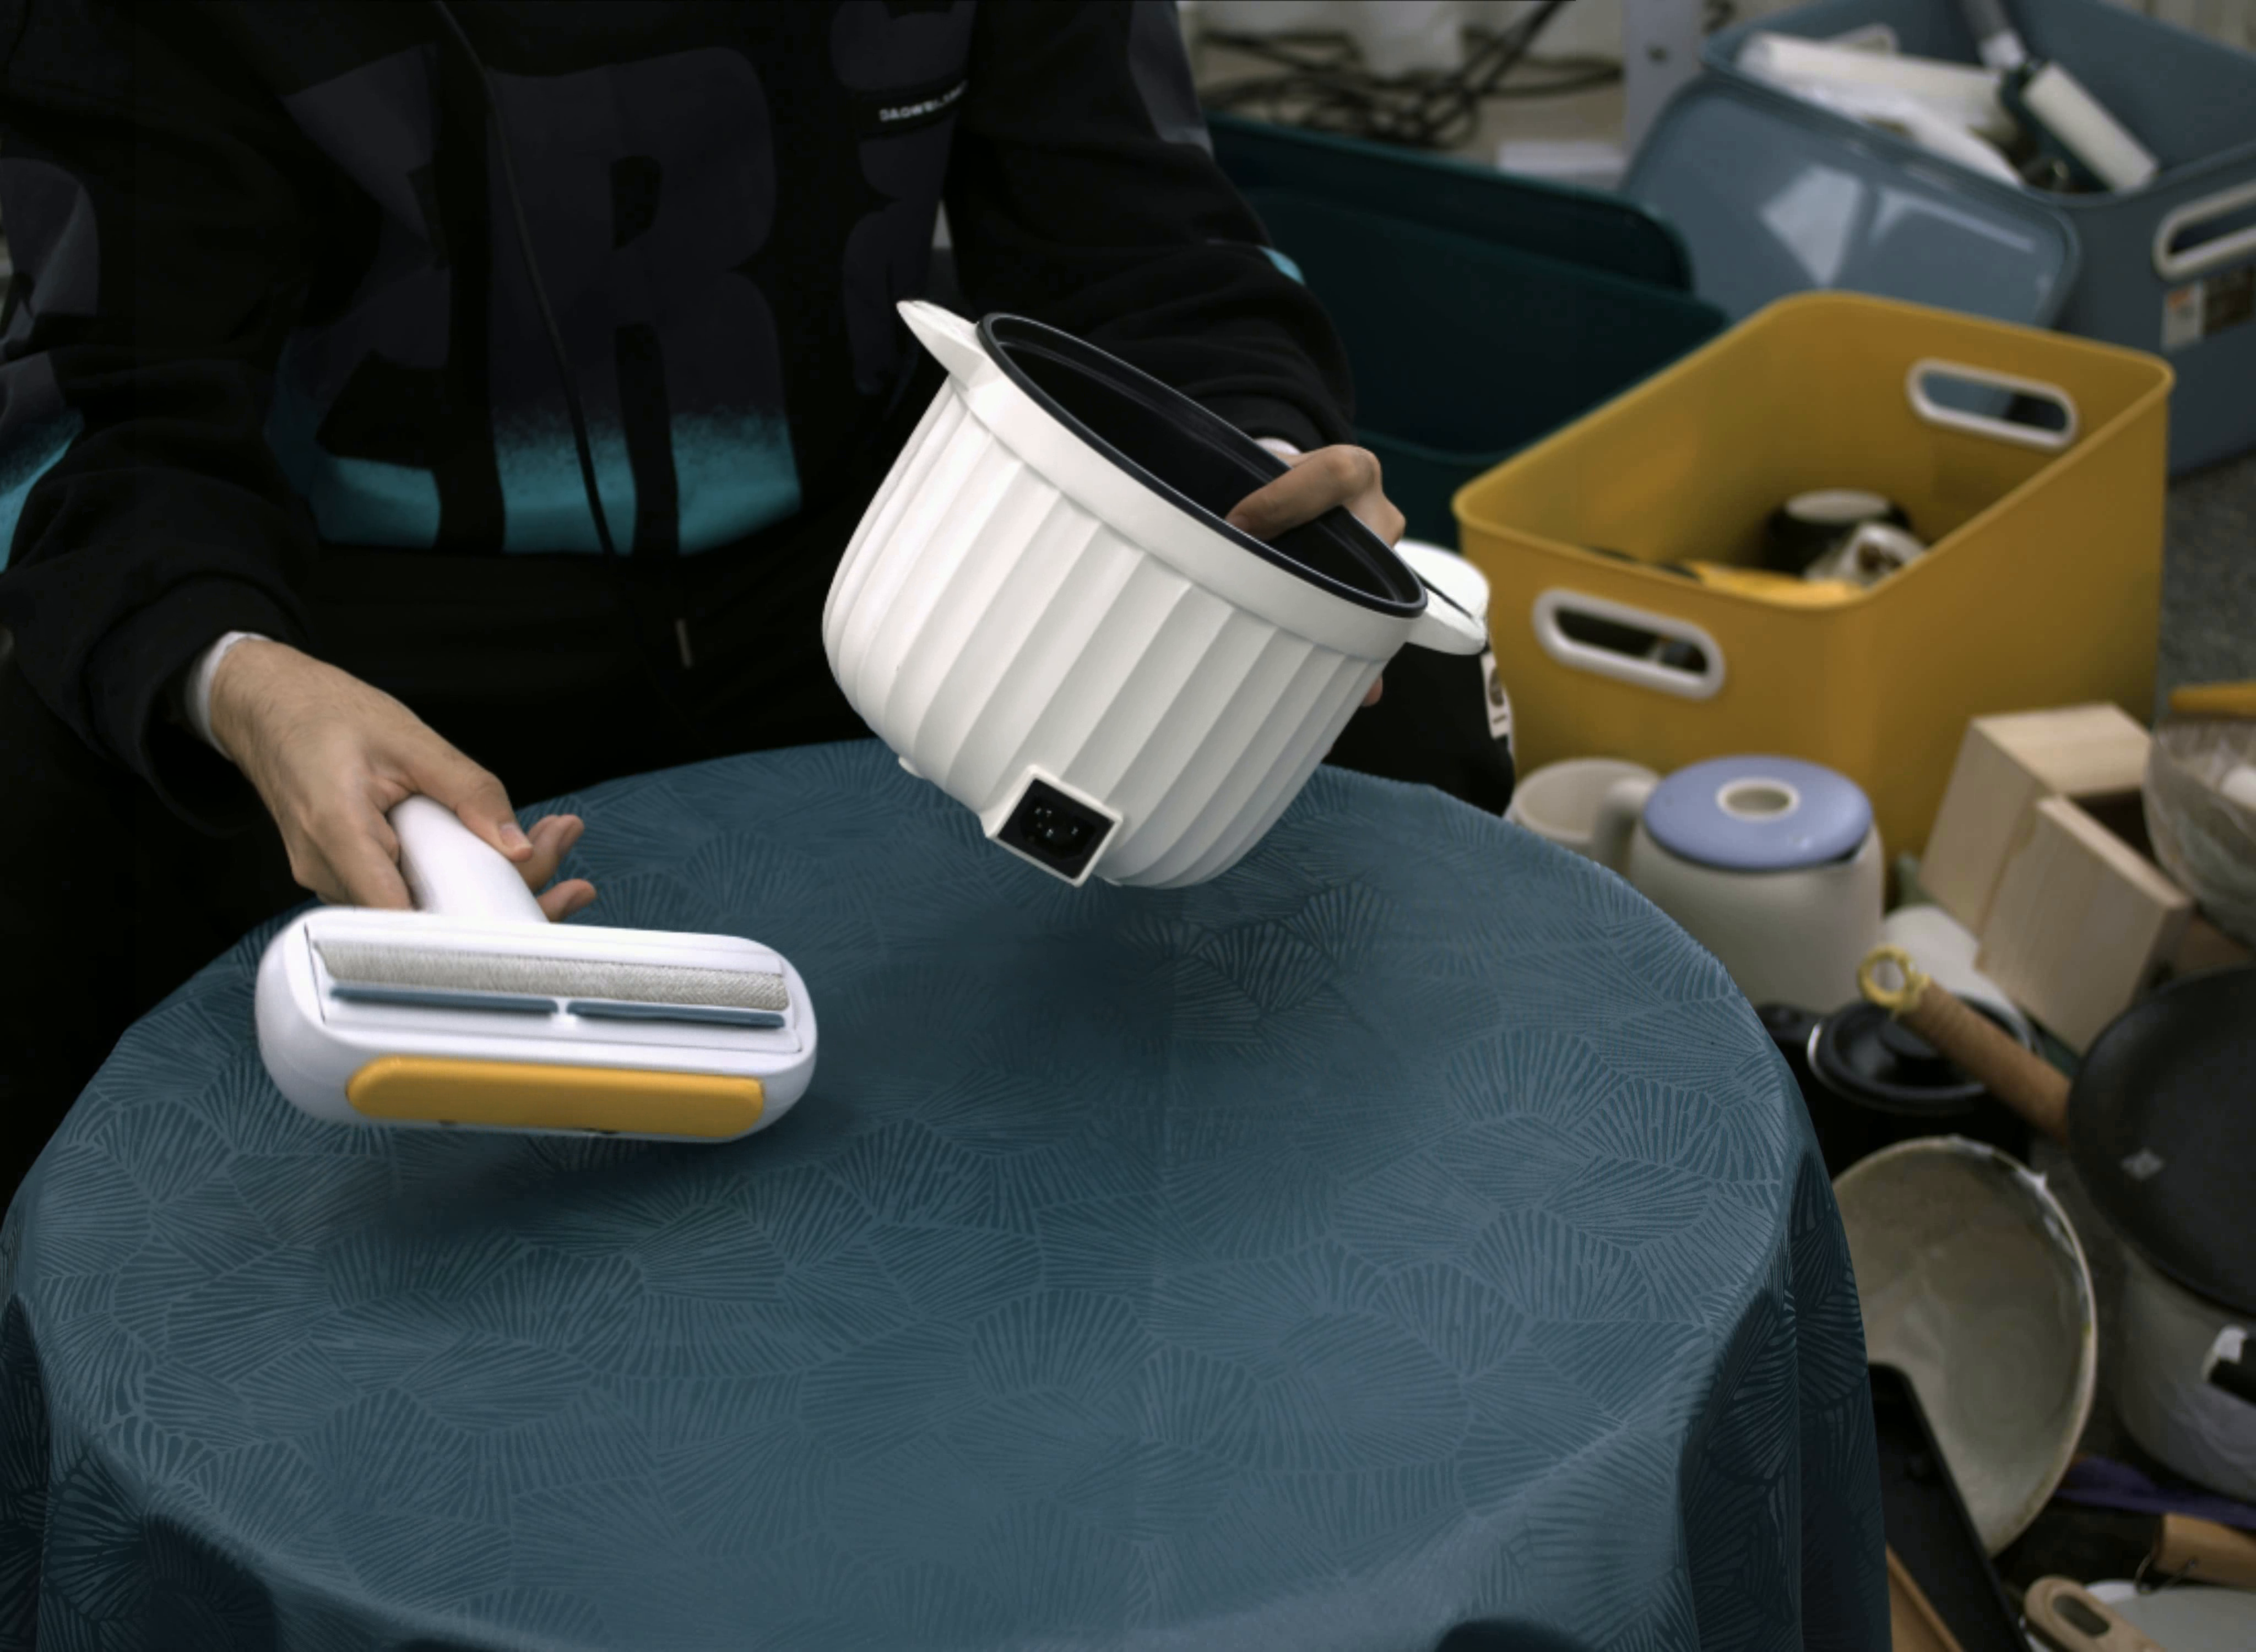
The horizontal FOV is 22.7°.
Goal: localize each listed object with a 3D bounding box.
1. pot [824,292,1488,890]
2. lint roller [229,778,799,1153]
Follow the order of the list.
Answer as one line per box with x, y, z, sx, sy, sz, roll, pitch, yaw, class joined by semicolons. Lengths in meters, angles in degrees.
-0.010;-0.073;1.929;0.239;0.141;0.192;30;15;-18;pot
-0.219;0.037;1.911;0.193;0.073;0.195;2;39;-21;lint roller
